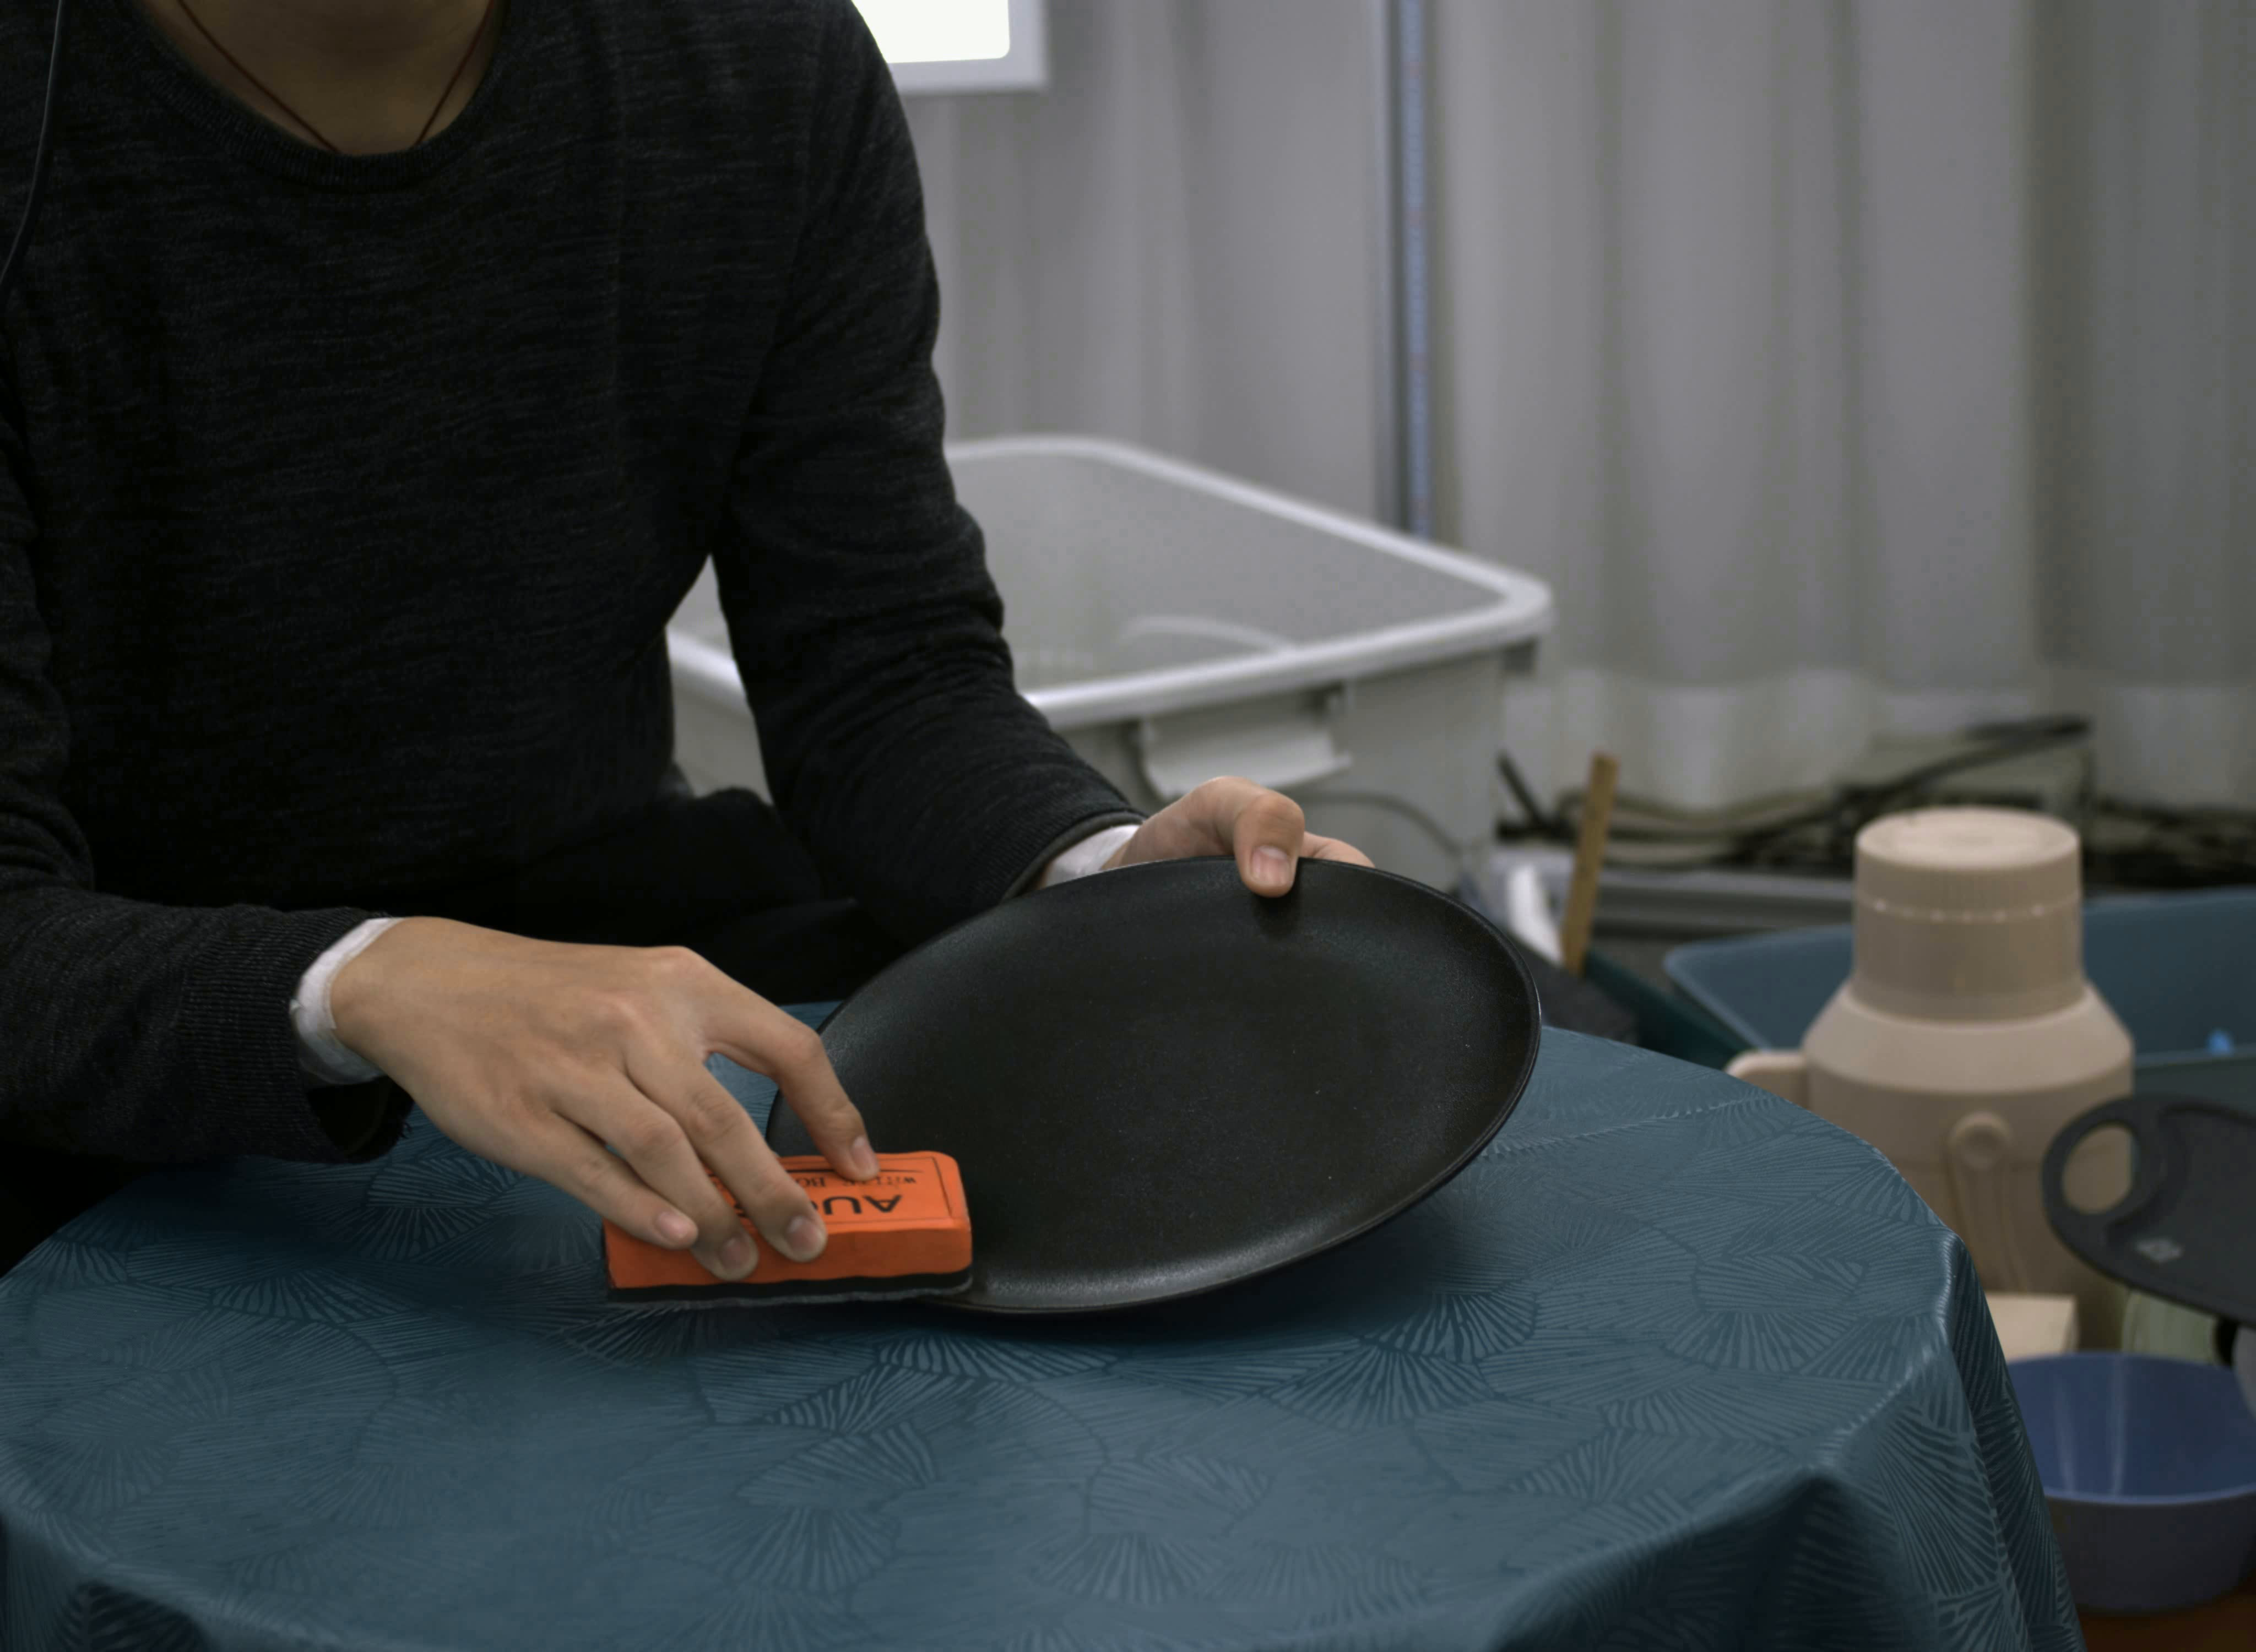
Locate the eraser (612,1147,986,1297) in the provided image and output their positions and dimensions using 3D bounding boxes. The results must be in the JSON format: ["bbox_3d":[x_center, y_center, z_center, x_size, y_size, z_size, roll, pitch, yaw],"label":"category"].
[{"bbox_3d":[-0.098,0.117,1.615,0.107,0.023,0.059,-4,13,-7],"label":"eraser"}]

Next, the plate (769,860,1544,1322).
[{"bbox_3d":[0.010,0.084,1.682,0.244,0.023,0.247,-10,30,5],"label":"plate"}]
